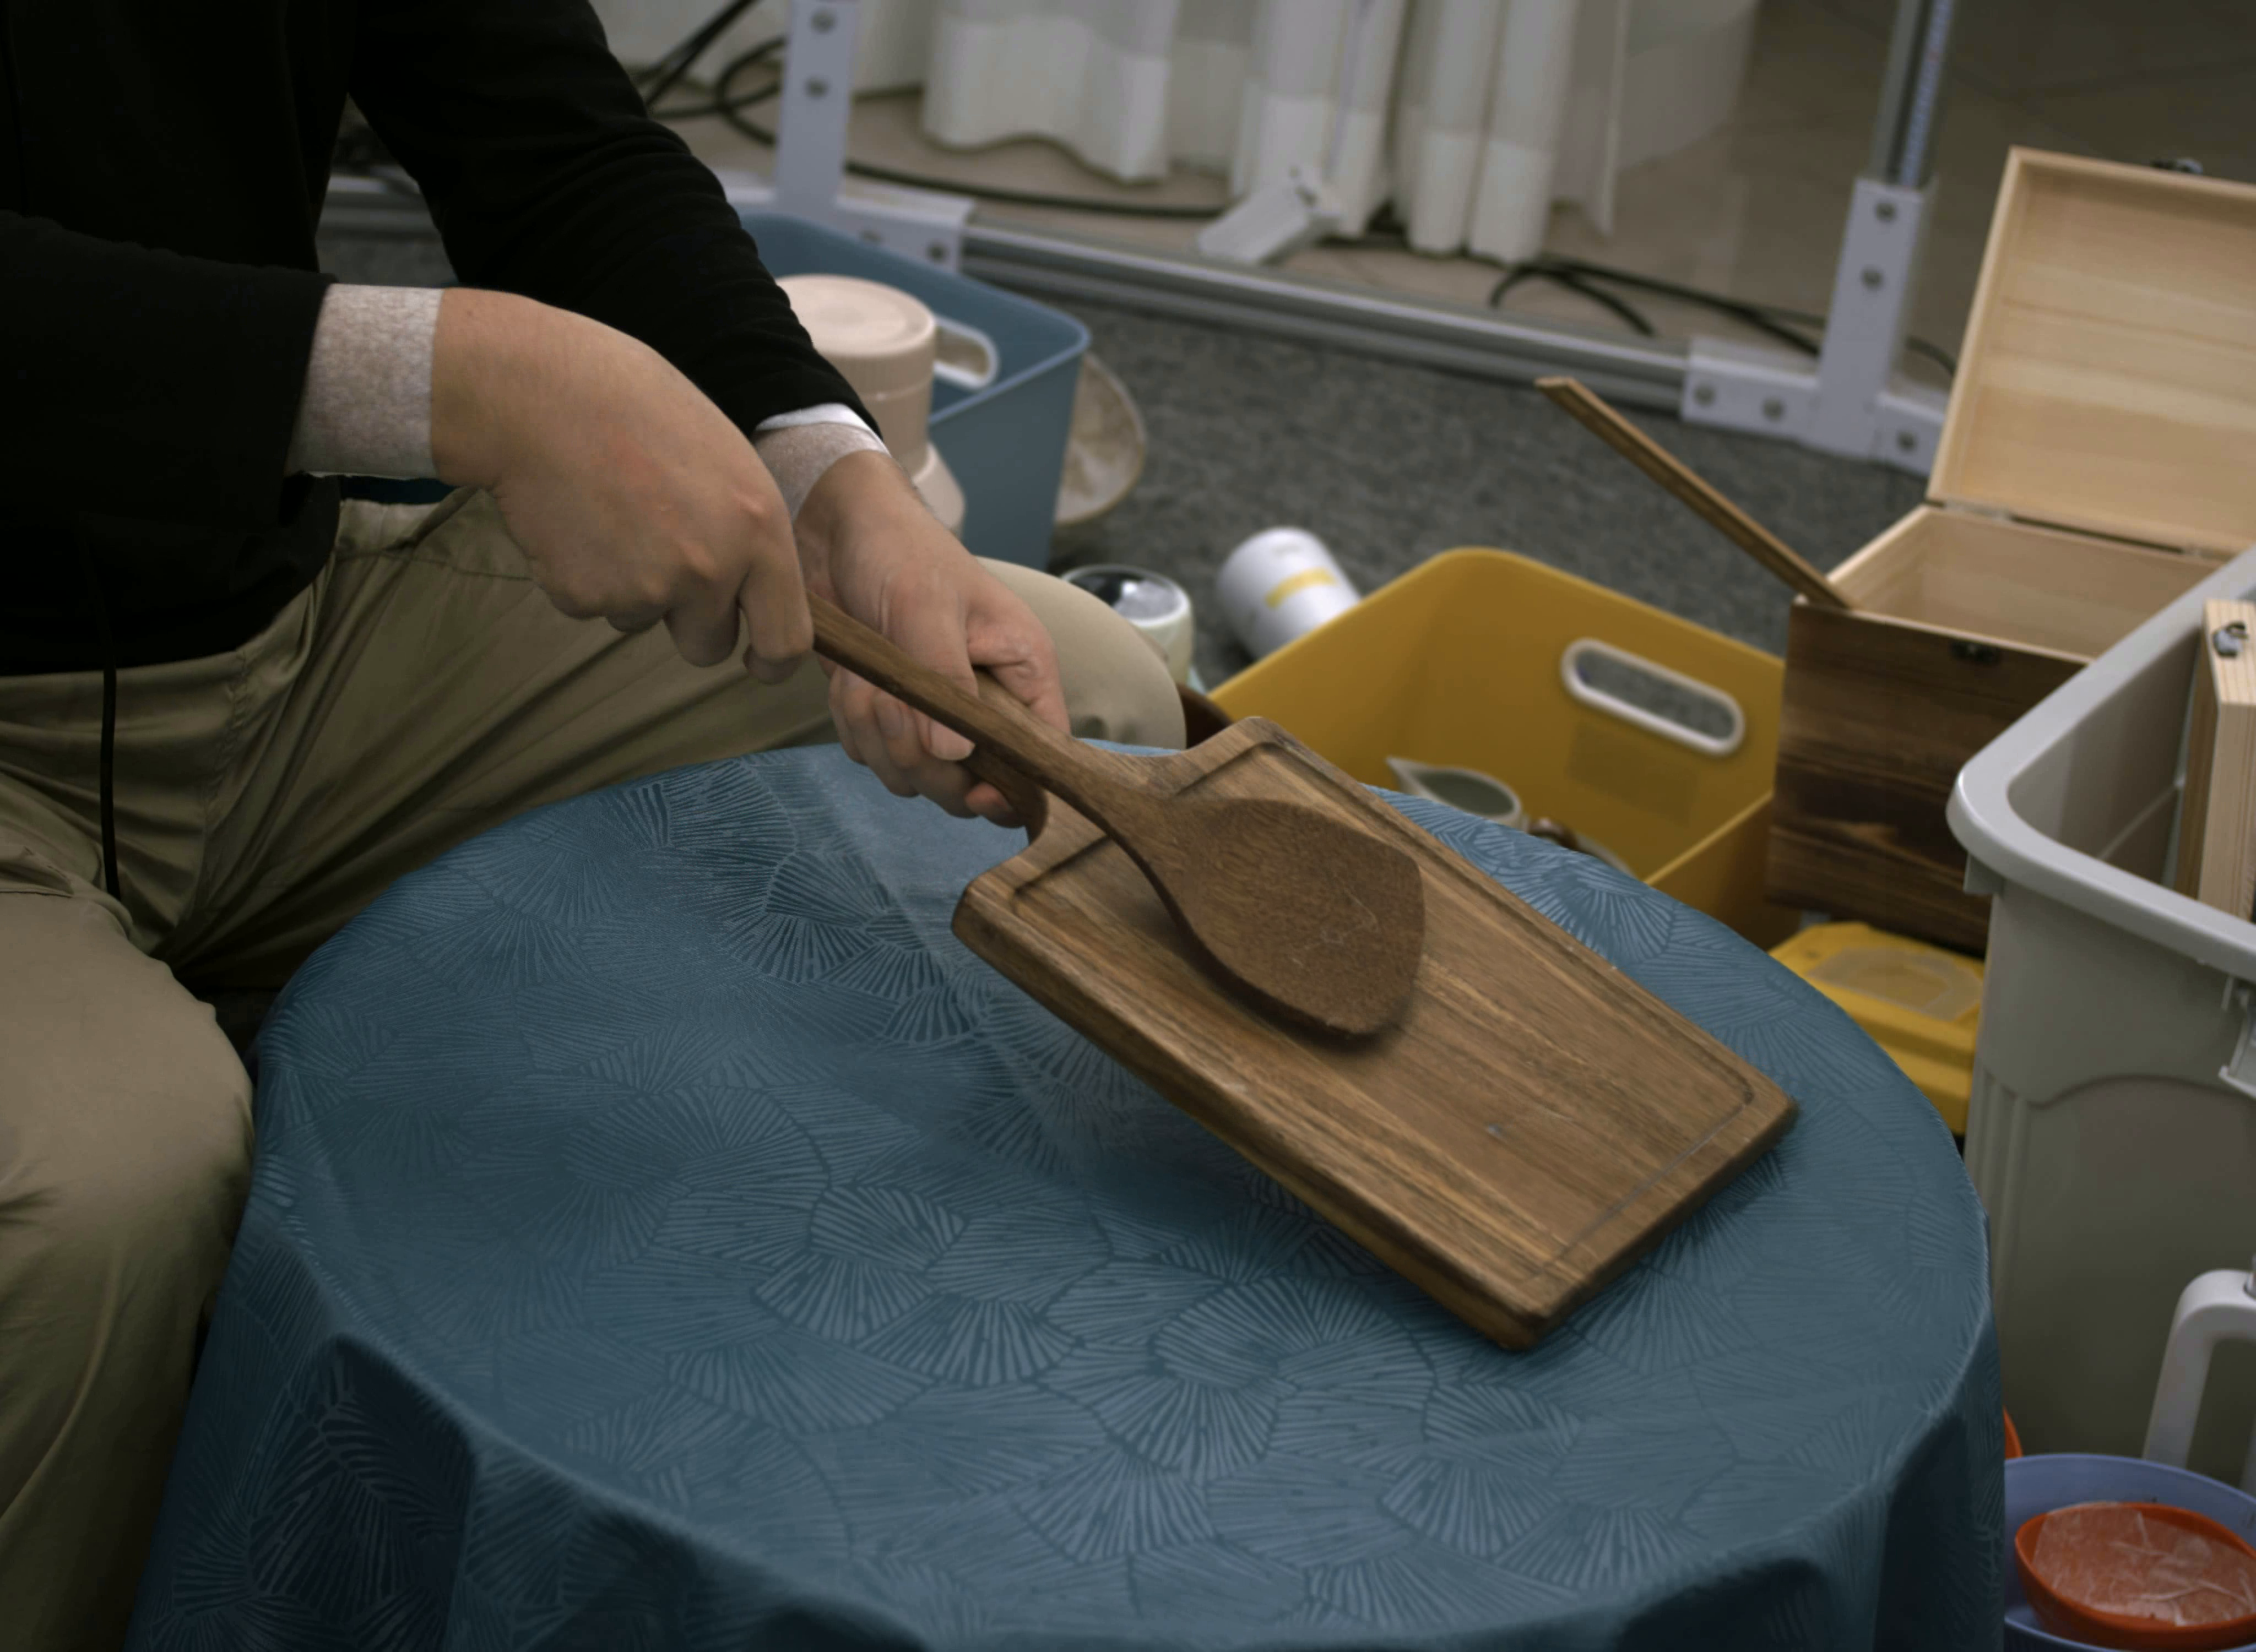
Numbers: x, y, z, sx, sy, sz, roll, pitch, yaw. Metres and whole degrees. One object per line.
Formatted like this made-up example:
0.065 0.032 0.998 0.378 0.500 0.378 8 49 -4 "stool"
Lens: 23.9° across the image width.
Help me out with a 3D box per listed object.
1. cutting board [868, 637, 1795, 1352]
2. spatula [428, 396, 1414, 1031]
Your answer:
0.050 0.038 1.856 0.354 0.023 0.200 36 36 18 "cutting board"
-0.068 -0.046 1.807 0.384 0.016 0.096 30 44 -10 "spatula"
